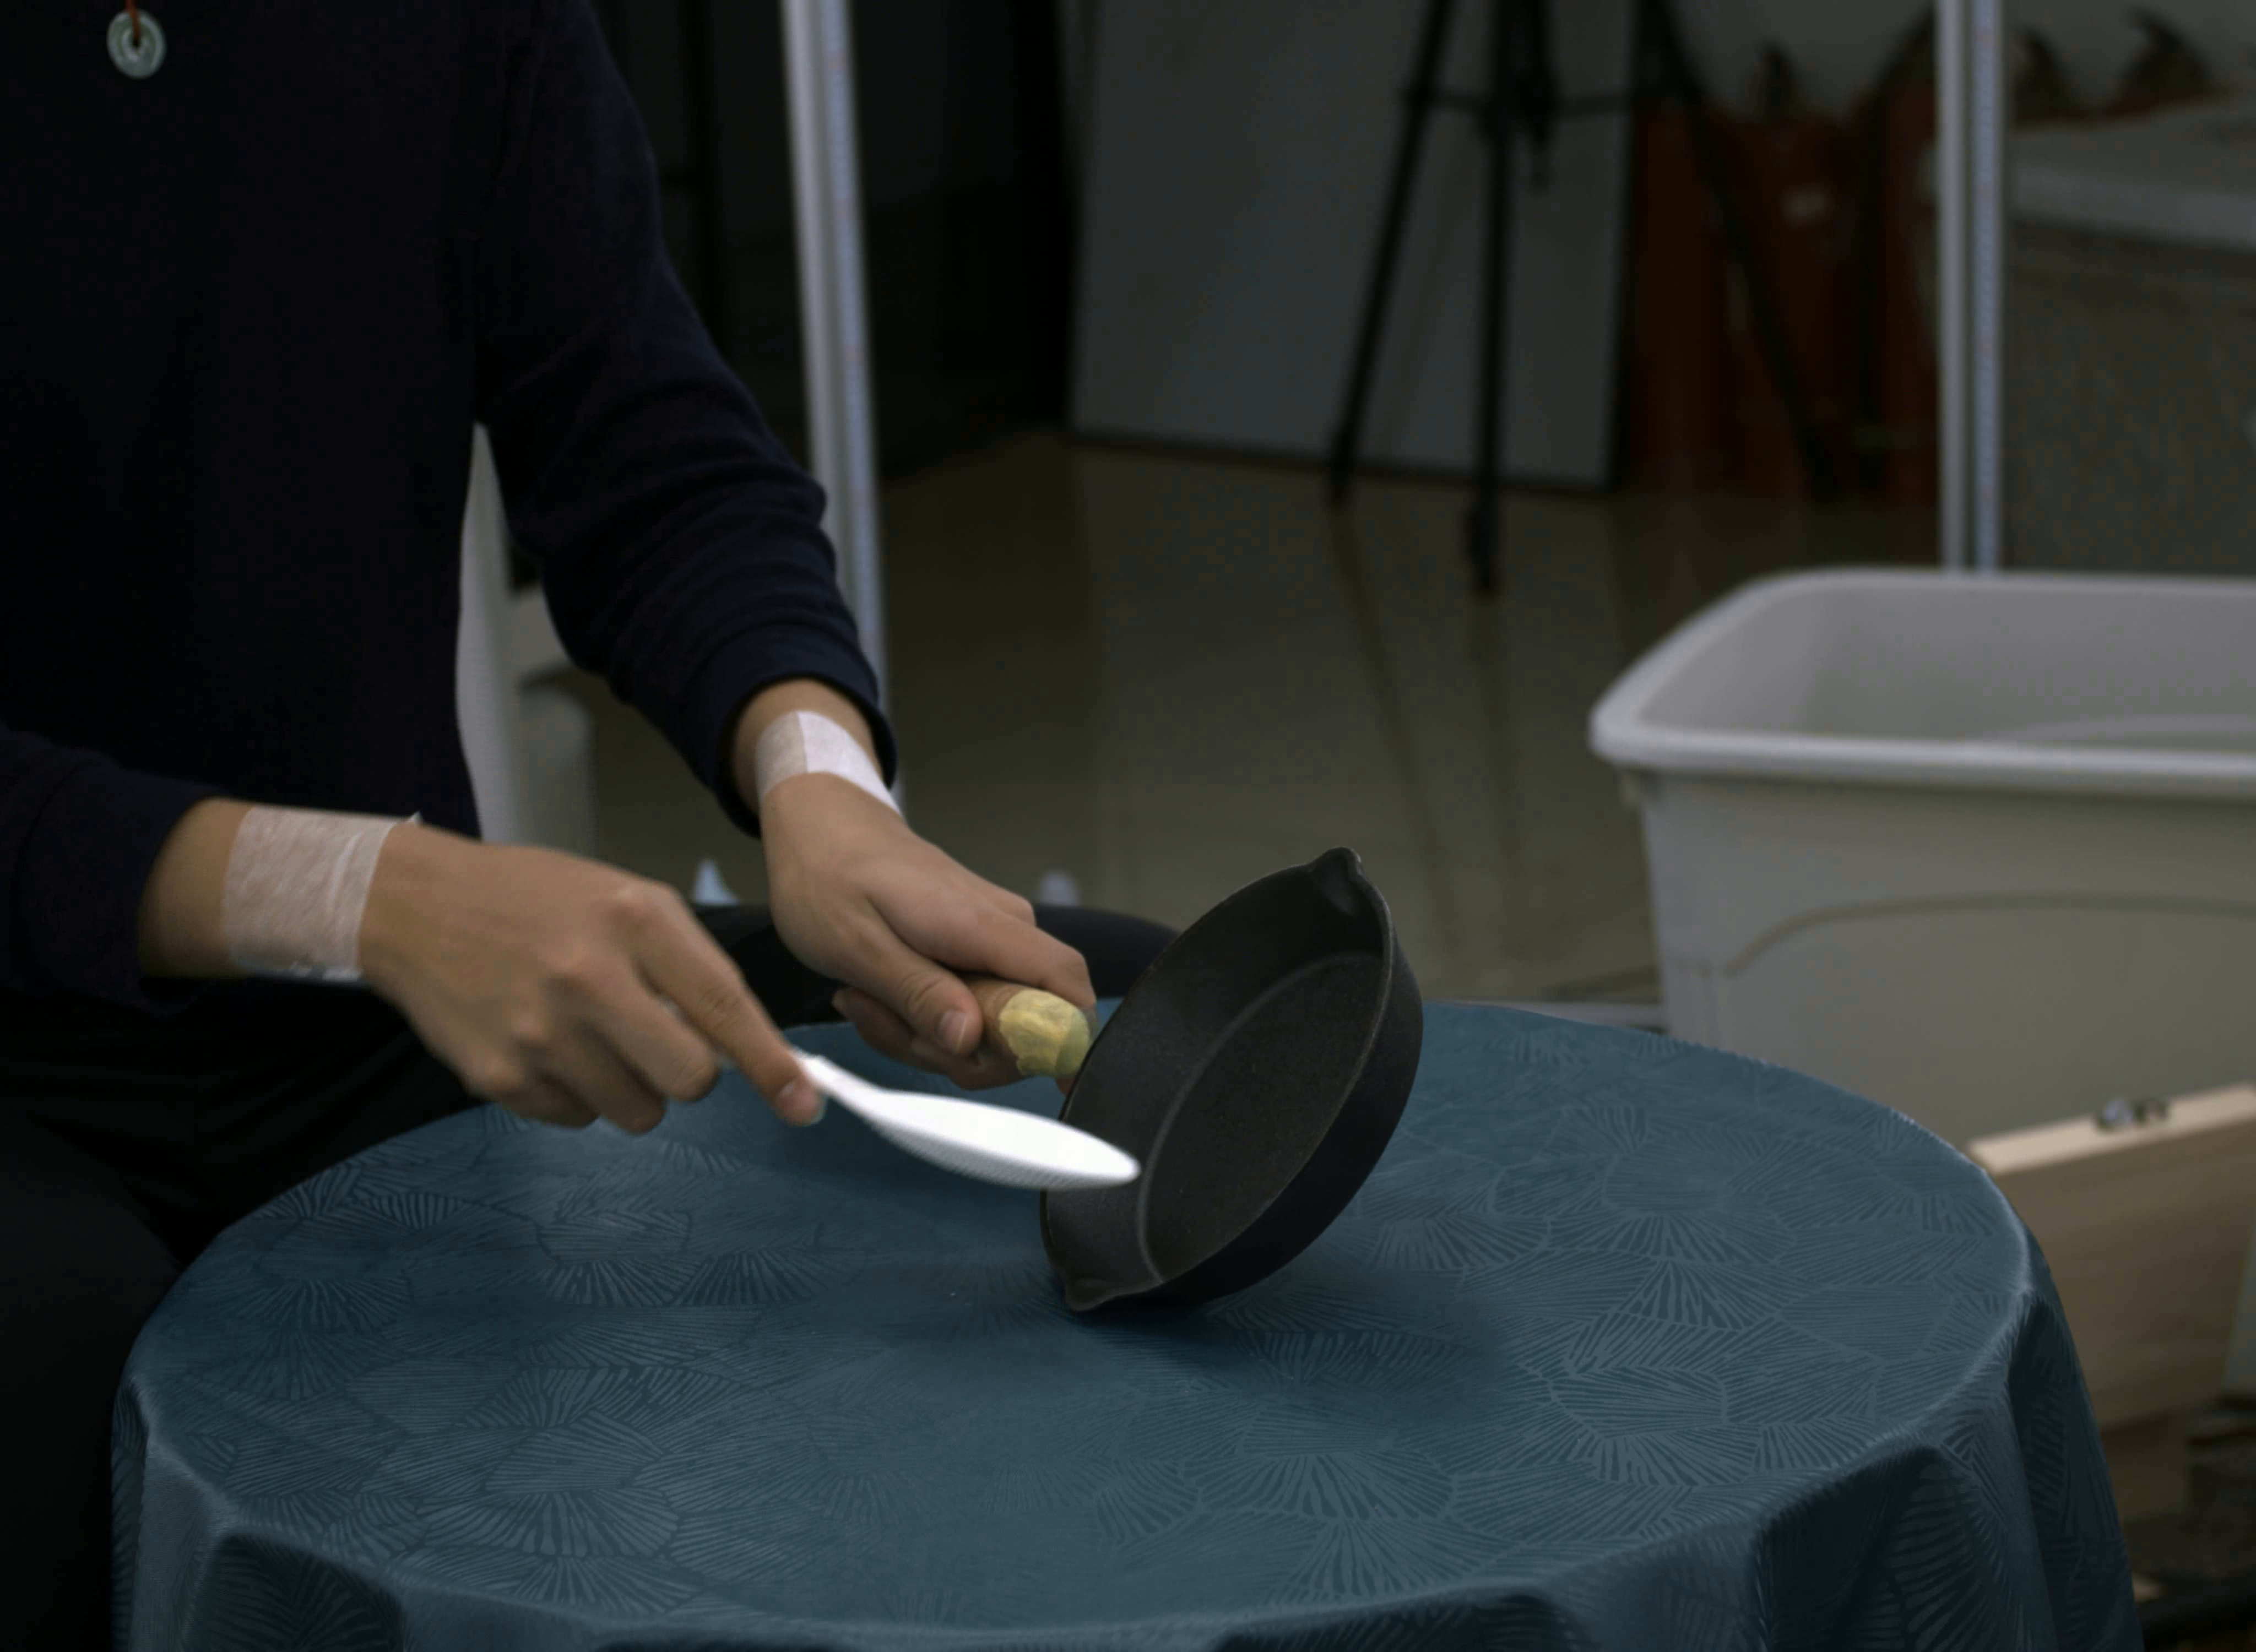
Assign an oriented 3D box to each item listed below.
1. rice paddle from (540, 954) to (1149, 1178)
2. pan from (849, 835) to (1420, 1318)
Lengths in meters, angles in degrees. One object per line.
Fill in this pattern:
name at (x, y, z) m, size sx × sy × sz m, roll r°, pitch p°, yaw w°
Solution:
rice paddle at (-0.087, 0.078, 1.689) m, size 0.205 × 0.030 × 0.068 m, roll 14°, pitch 8°, yaw 20°
pan at (-0.008, 0.071, 1.741) m, size 0.049 × 0.169 × 0.327 m, roll 35°, pitch -10°, yaw -27°
